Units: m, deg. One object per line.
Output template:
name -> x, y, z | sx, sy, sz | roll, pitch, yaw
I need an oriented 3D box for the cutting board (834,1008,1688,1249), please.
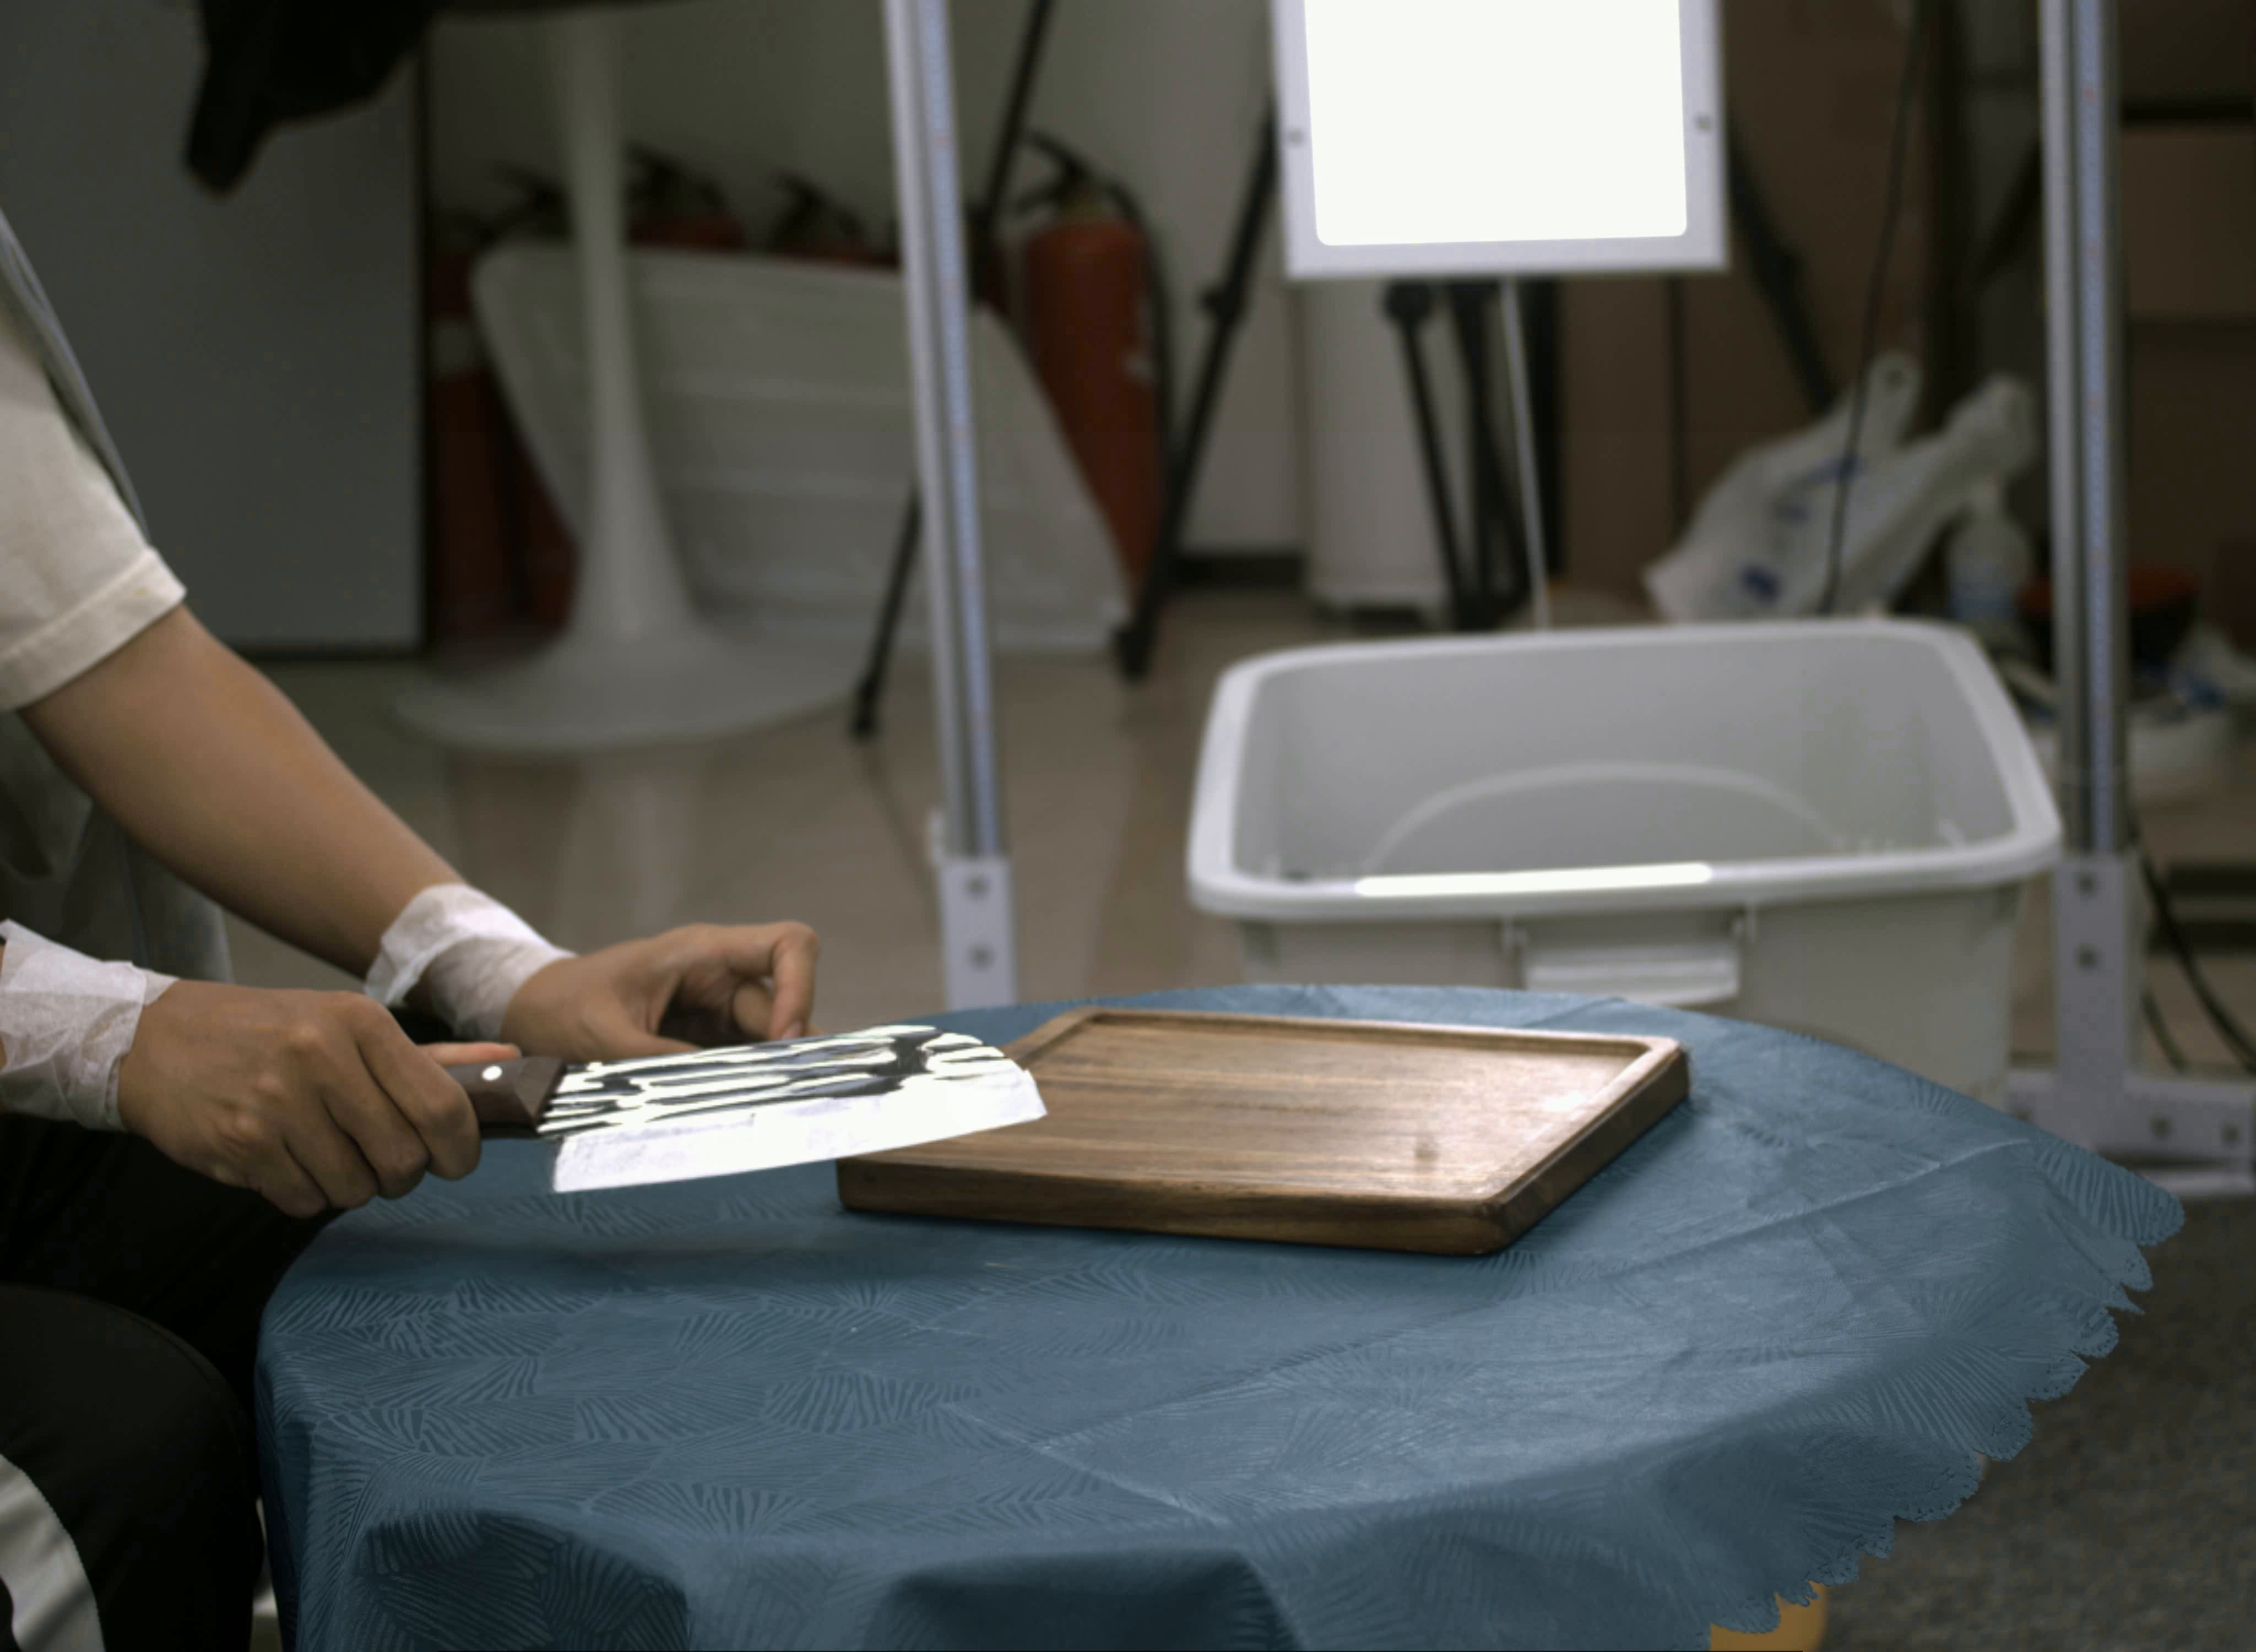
cutting board -> 0.005, 0.102, 1.953 | 0.358, 0.023, 0.197 | 1, 15, 28

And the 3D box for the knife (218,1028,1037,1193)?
knife -> -0.173, 0.100, 1.874 | 0.302, 0.024, 0.067 | -7, 37, 14
